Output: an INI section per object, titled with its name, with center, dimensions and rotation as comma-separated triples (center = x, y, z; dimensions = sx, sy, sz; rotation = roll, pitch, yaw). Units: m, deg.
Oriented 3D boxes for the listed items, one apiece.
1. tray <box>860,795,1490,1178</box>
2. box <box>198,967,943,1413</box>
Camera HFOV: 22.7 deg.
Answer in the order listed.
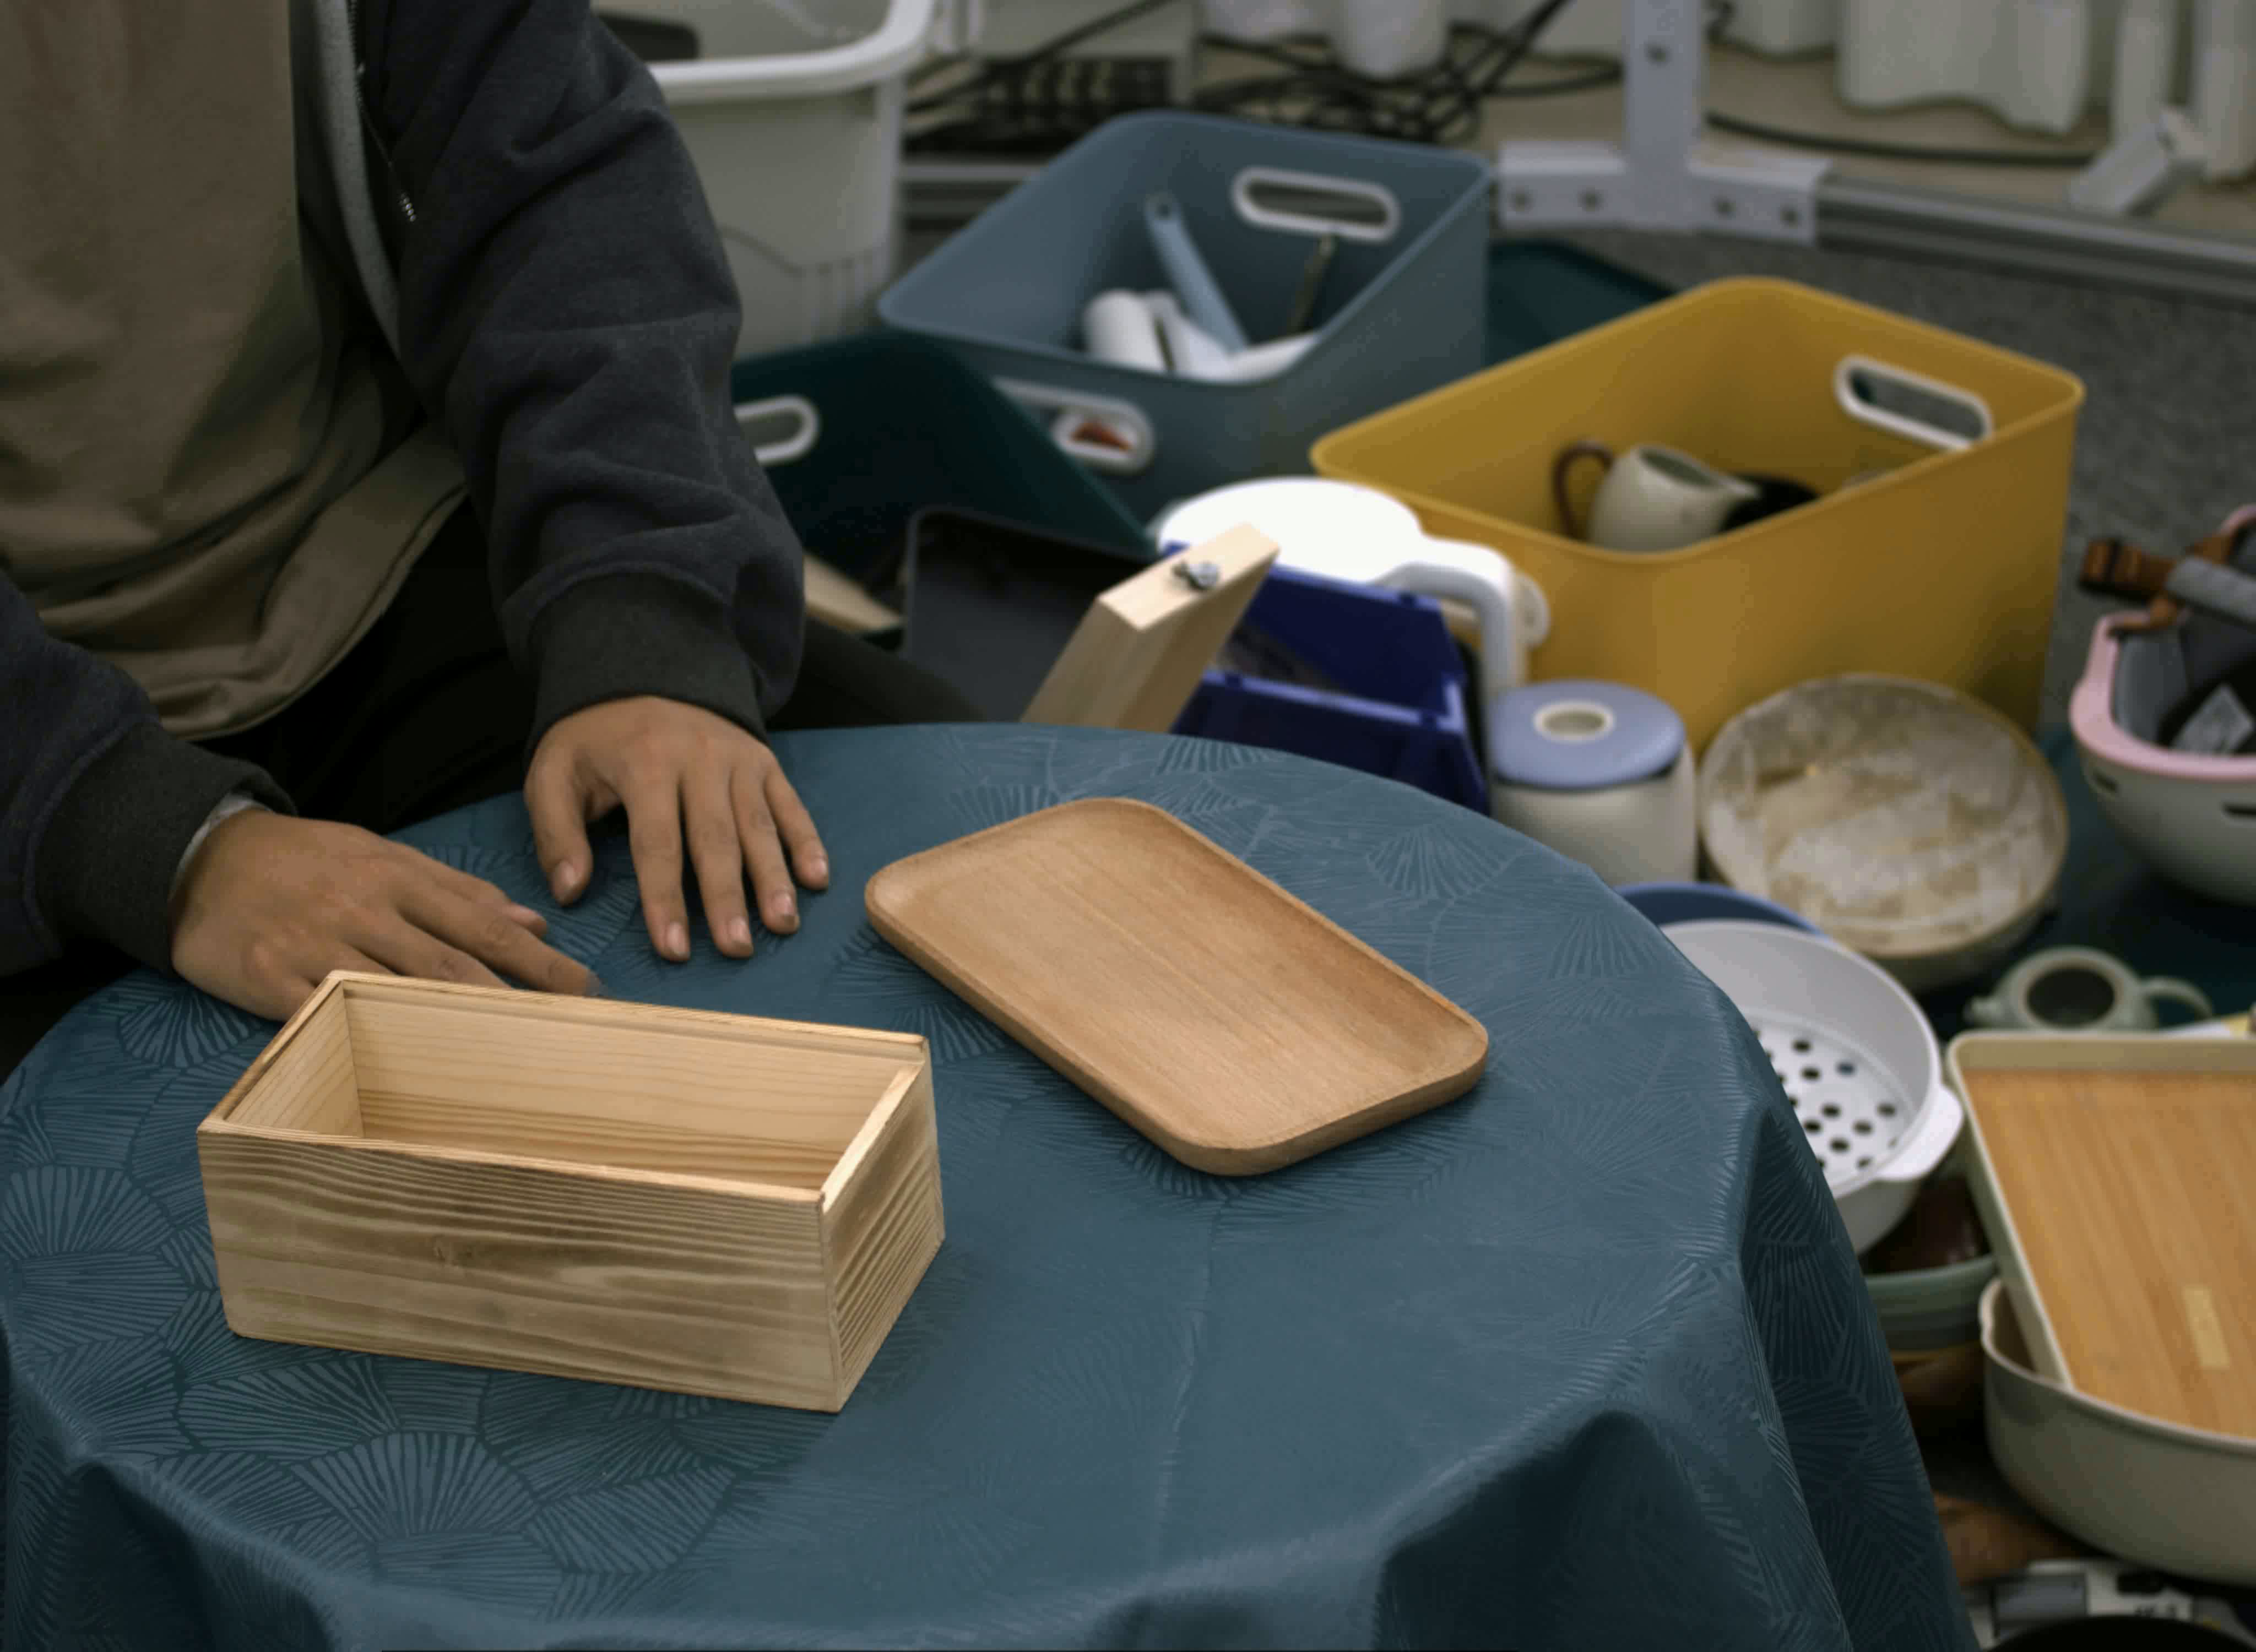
[tray]
center = 0.013, 0.054, 1.973
dimensions = 0.131, 0.022, 0.251
rotation = -16, 29, -29
[box]
center = -0.178, 0.116, 1.807
dimensions = 0.210, 0.079, 0.109
rotation = 5, 28, 16
